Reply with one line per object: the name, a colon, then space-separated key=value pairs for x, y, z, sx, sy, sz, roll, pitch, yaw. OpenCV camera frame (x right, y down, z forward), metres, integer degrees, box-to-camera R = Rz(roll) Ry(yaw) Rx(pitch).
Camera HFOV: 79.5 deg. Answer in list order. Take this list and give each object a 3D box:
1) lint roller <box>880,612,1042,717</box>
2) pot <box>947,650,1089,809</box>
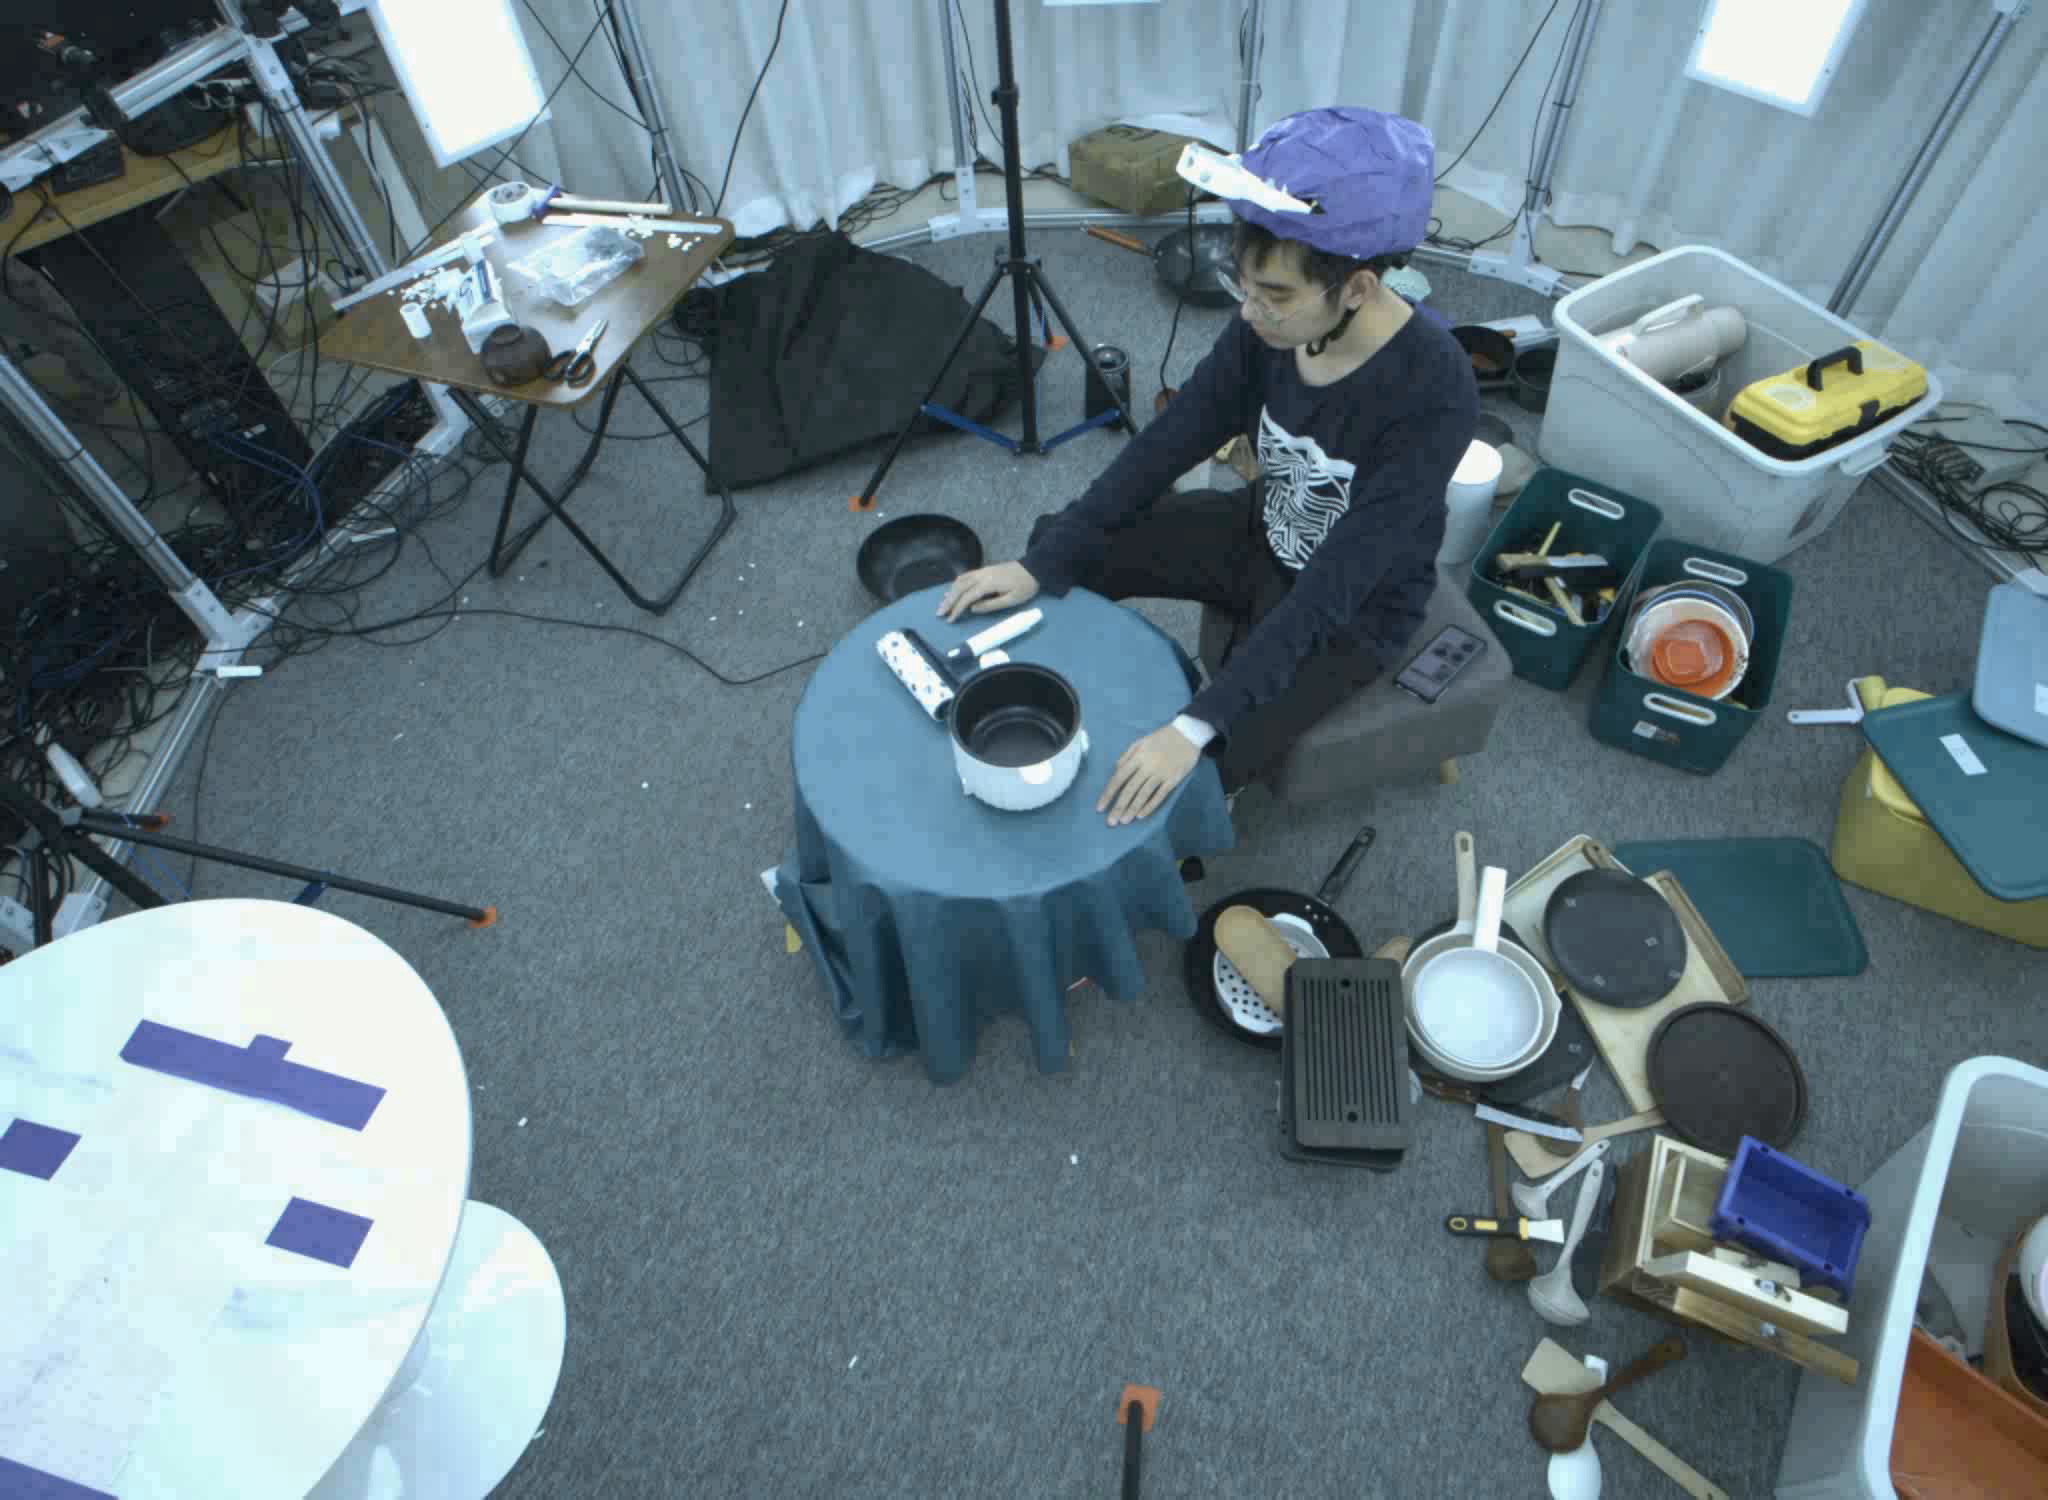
lint roller: x=-0.078 y=-0.161 z=1.887 sx=0.249 sy=0.051 sz=0.173 roll=-30 pitch=58 yaw=-21
pot: x=-0.005 y=-0.016 z=1.720 sx=0.191 sy=0.144 sz=0.236 roll=-18 pitch=56 yaw=-7
